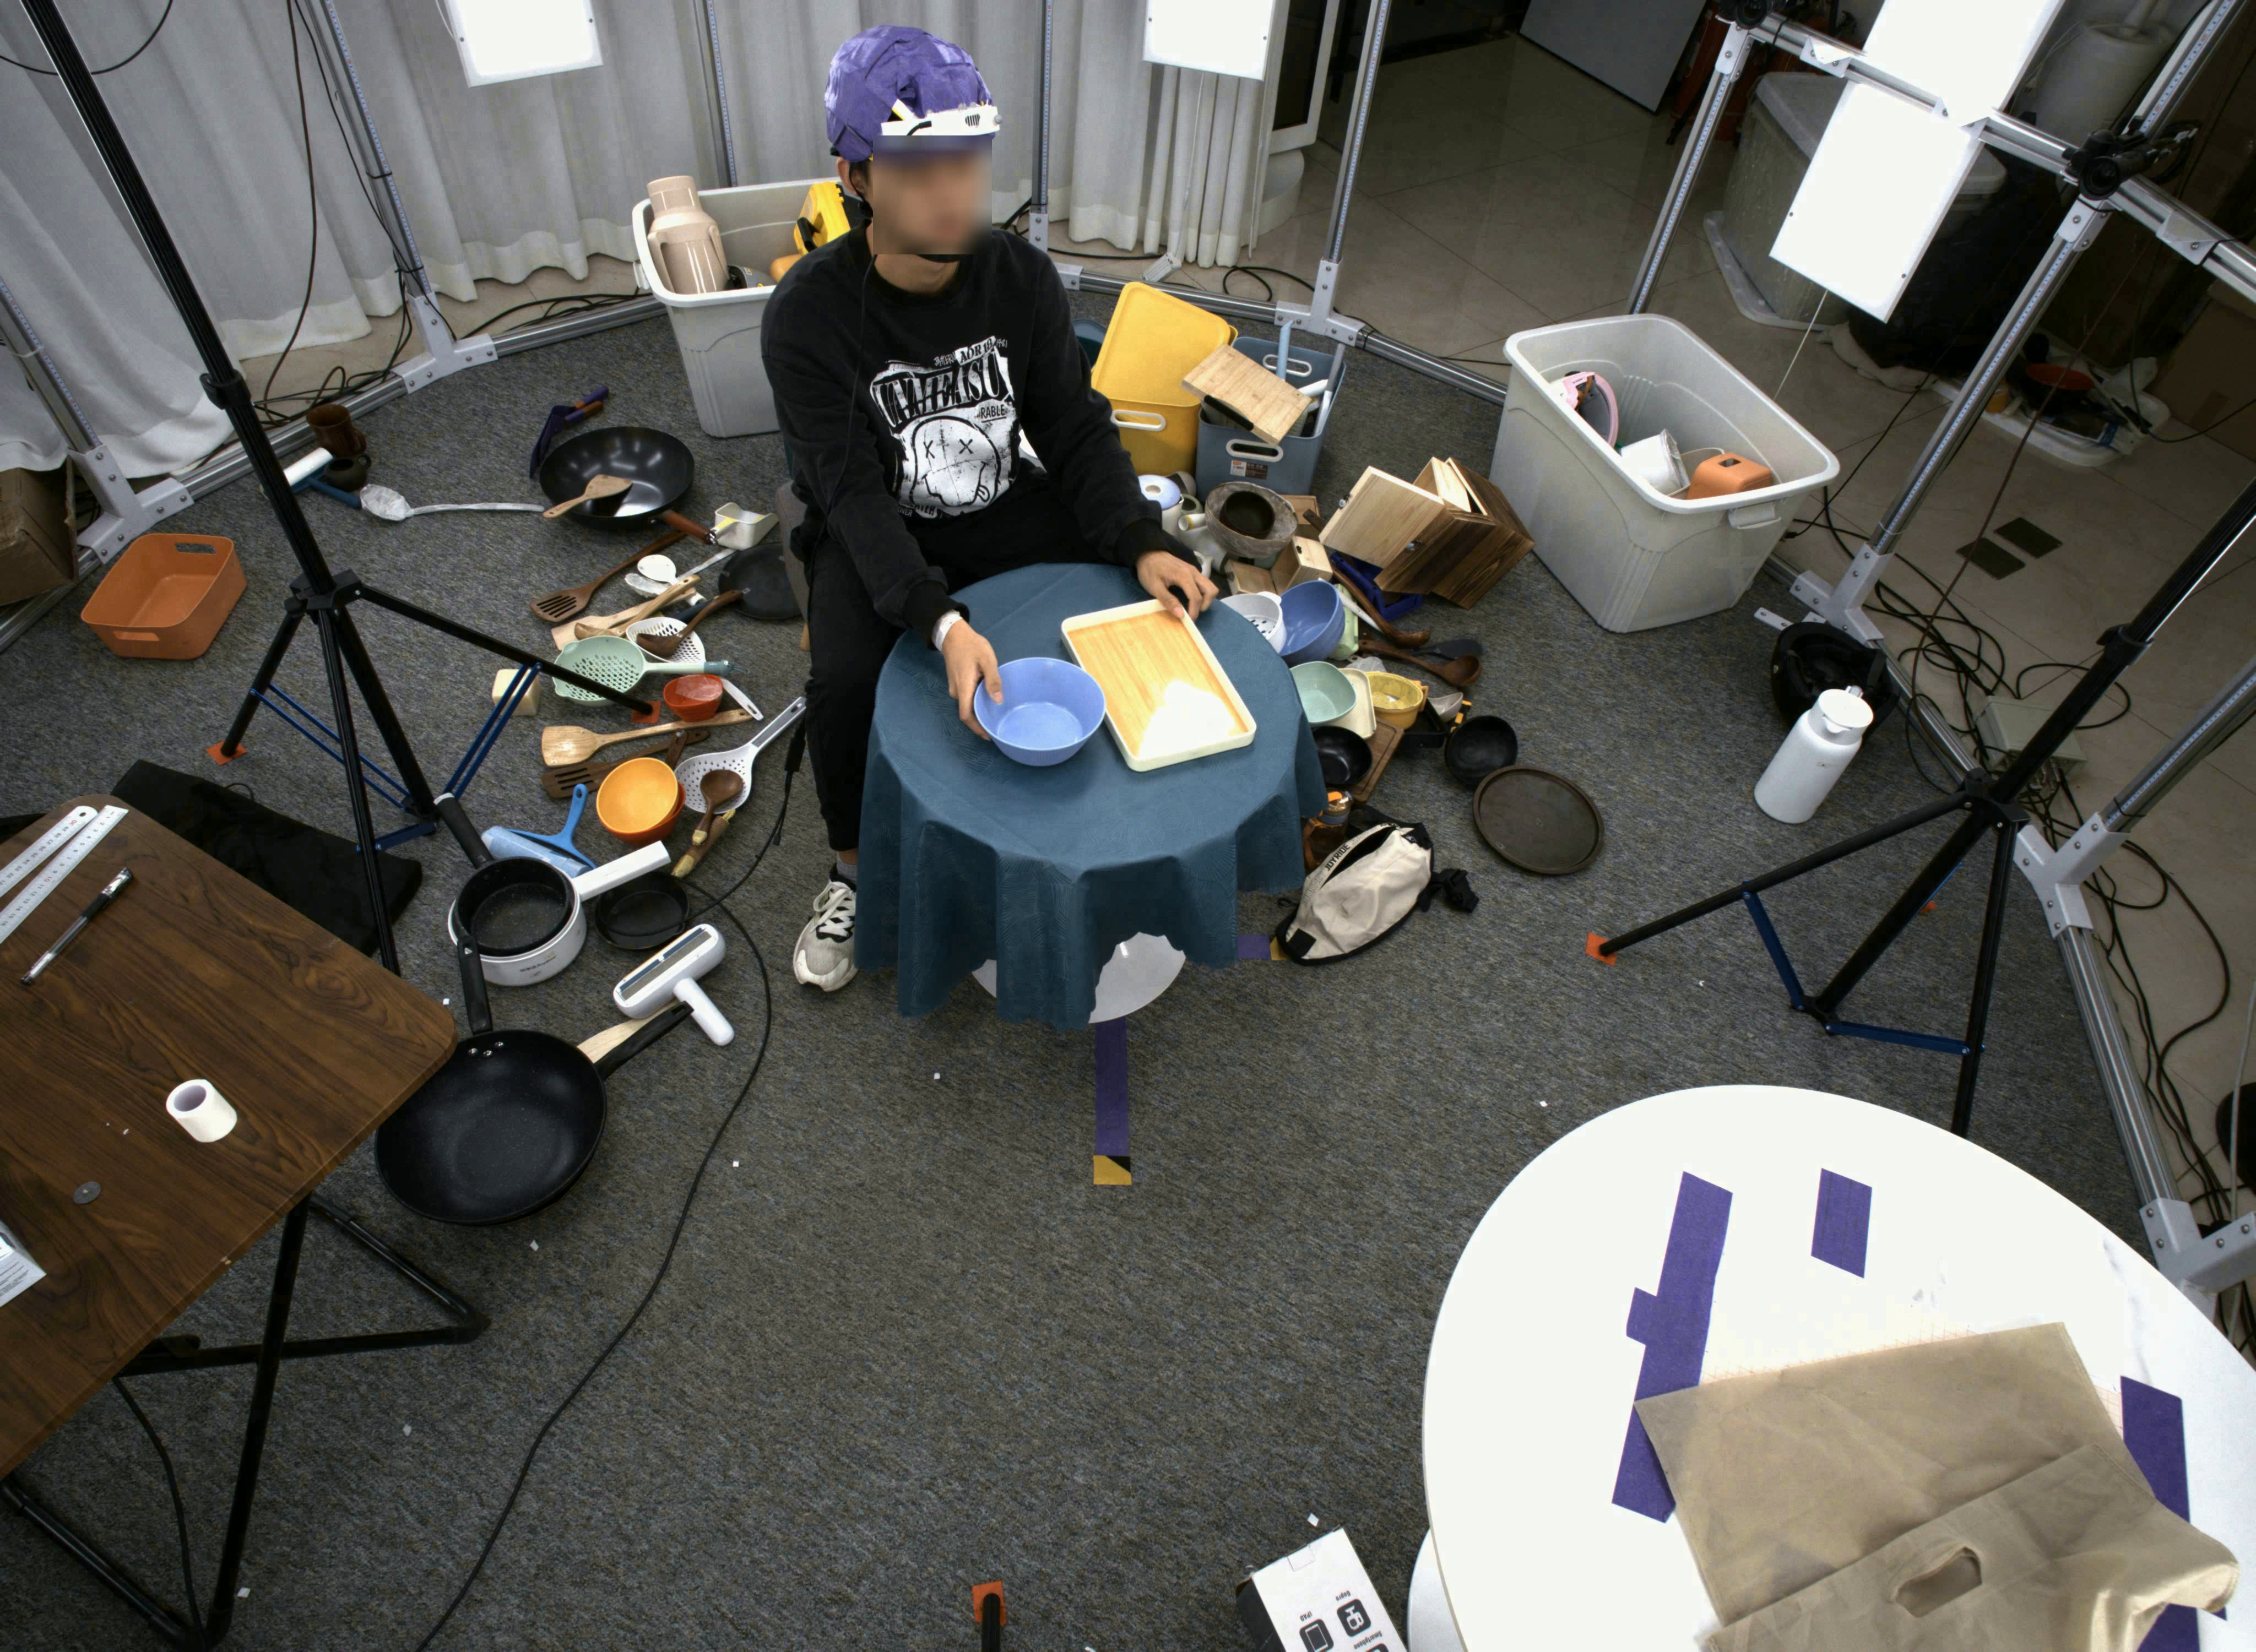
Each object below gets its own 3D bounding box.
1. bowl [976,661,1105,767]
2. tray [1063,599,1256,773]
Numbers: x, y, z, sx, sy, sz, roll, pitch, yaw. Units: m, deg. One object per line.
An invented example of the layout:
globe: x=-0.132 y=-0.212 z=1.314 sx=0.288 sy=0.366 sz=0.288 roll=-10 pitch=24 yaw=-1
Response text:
bowl: x=-0.120 y=-0.144 z=1.755 sx=0.176 sy=0.068 sz=0.180 roll=2 pitch=48 yaw=-3
tray: x=0.041 y=-0.208 z=1.851 sx=0.191 sy=0.027 sz=0.307 roll=-15 pitch=52 yaw=-16
